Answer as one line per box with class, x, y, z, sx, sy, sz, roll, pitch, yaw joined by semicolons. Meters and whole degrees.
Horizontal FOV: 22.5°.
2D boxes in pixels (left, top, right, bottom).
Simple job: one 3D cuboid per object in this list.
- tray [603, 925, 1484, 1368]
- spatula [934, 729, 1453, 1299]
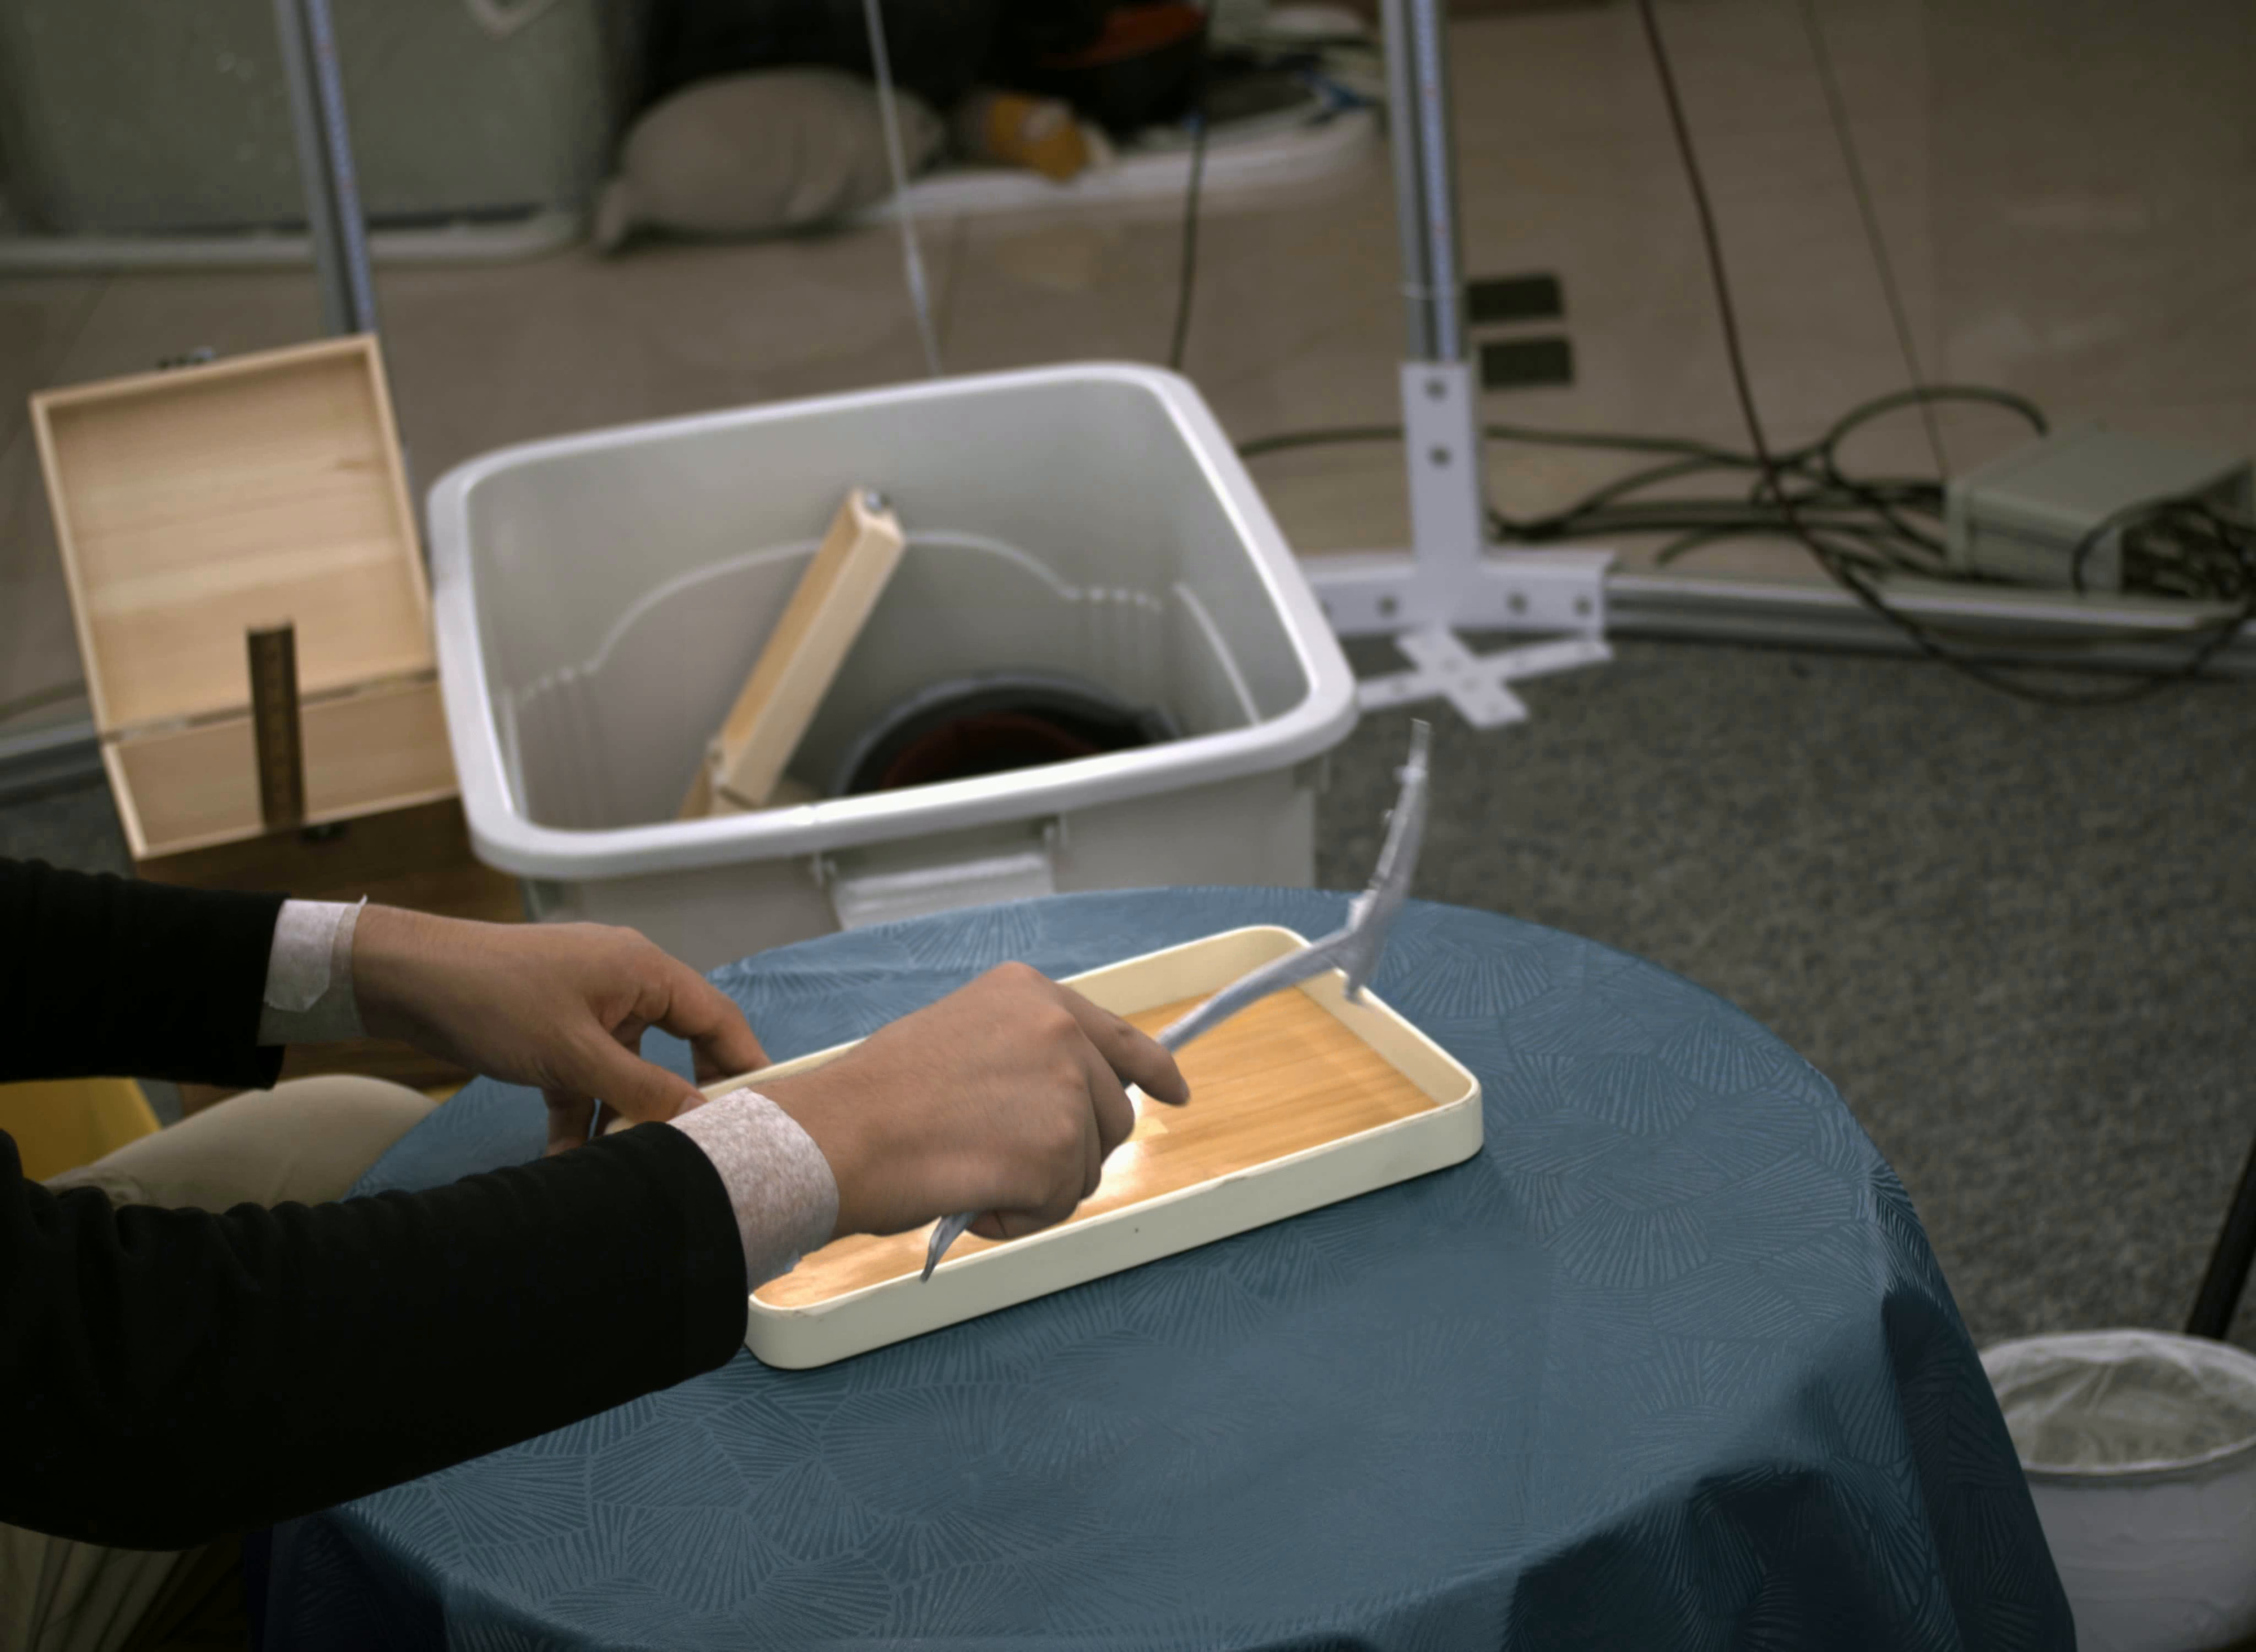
tray;-0.033;0.119;2.168;0.299;0.028;0.189;-16;26;-19
spatula;0.026;0.070;1.995;0.044;0.100;0.361;33;39;21
